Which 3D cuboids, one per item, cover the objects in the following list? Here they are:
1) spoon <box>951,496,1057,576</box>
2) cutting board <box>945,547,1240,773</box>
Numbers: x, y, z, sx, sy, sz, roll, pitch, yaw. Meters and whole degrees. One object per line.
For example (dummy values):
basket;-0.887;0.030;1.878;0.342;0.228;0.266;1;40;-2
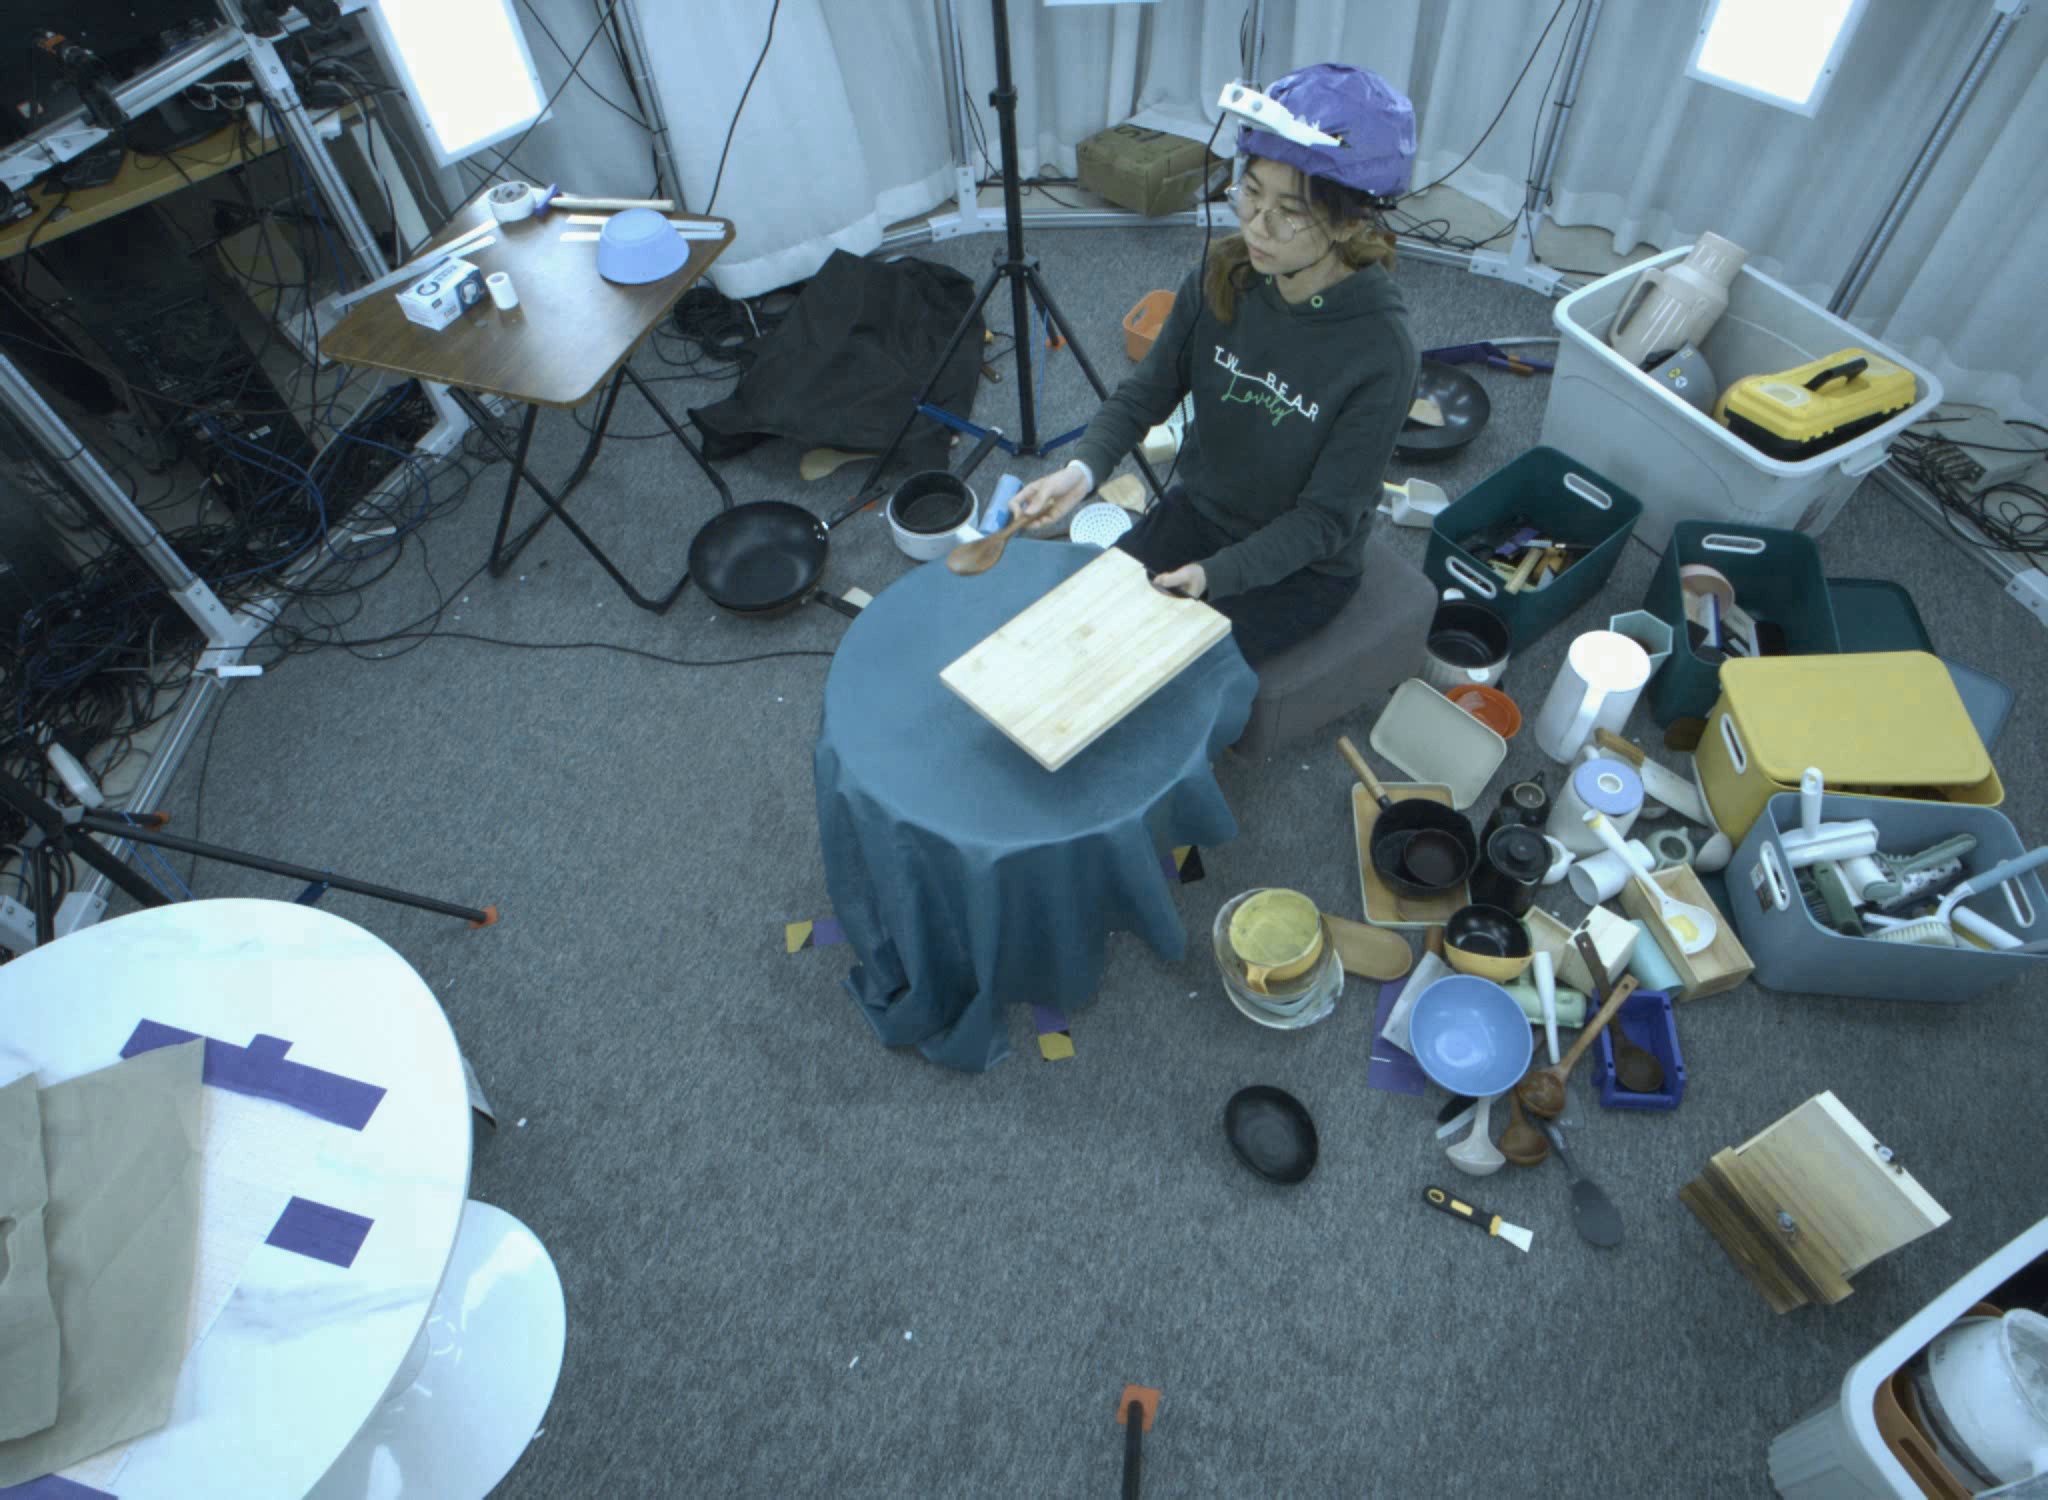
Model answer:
spoon;-0.024;-0.310;1.776;0.074;0.017;0.217;23;53;33
cutting board;0.093;-0.137;1.724;0.351;0.024;0.245;-39;57;-20
